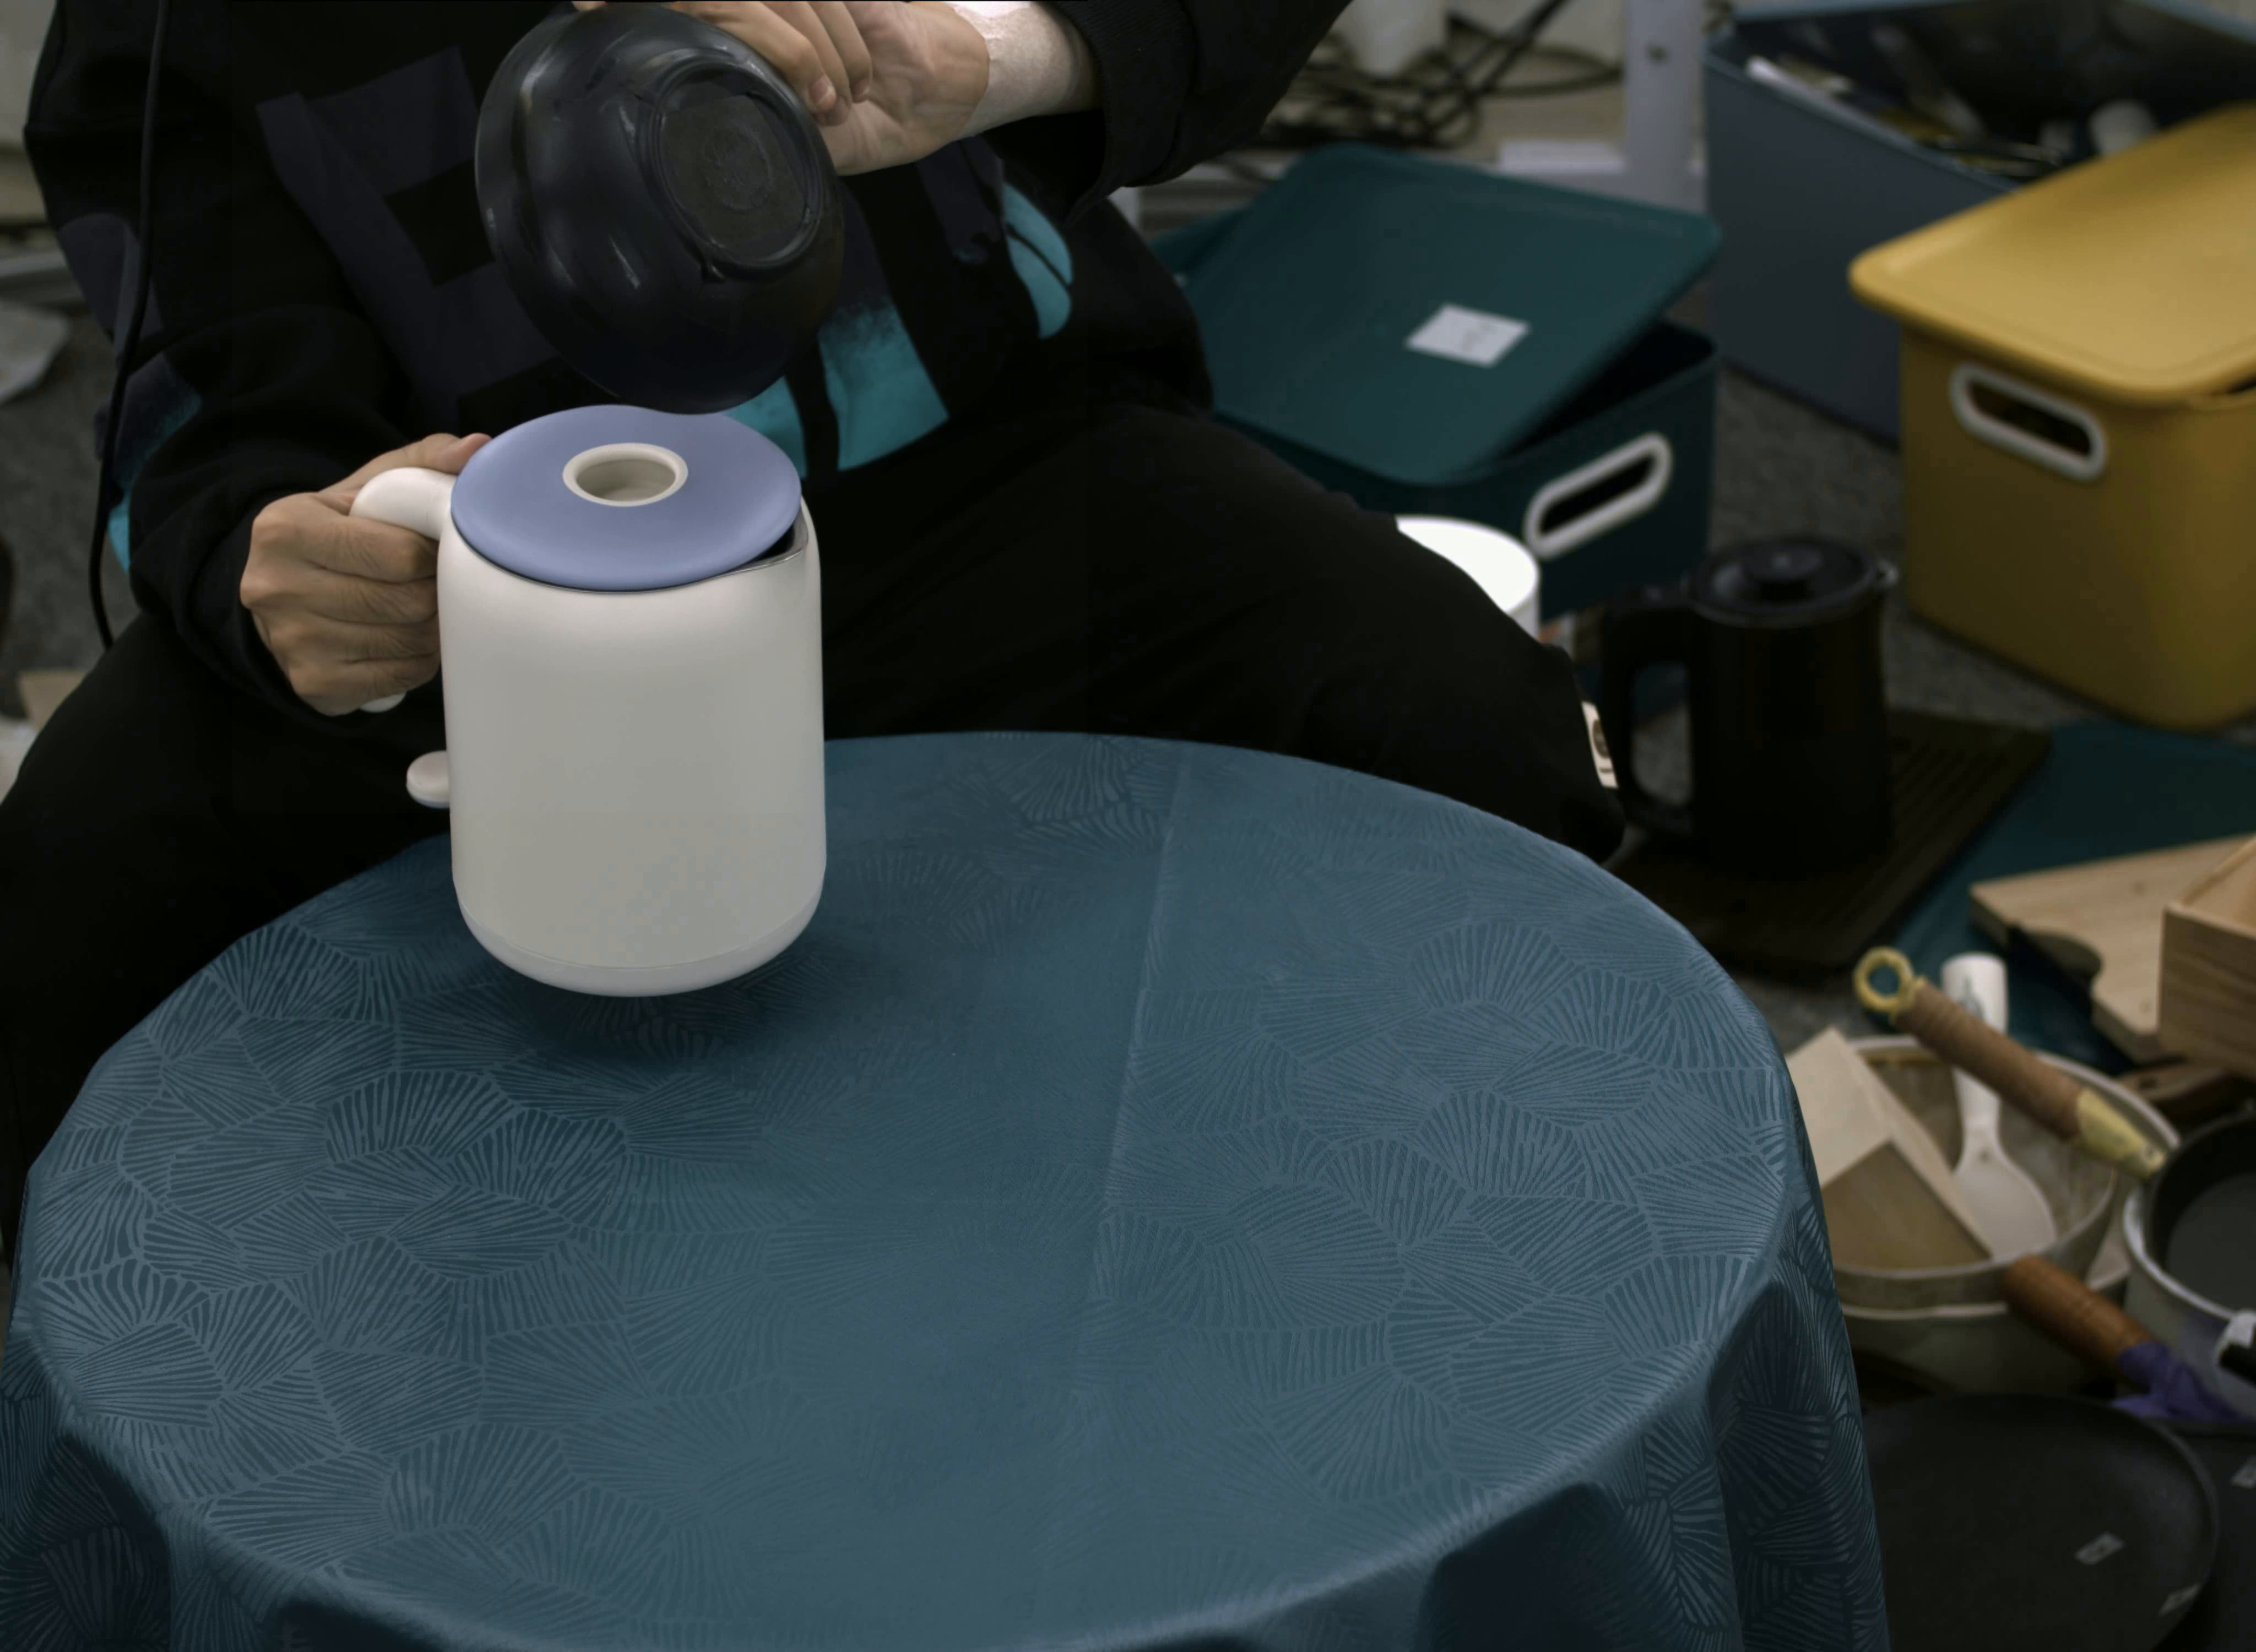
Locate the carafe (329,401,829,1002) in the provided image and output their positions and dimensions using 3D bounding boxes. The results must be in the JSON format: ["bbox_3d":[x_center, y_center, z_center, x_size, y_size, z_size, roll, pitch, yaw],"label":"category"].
[{"bbox_3d":[-0.192,-0.048,1.944,0.190,0.180,0.134,12,32,21],"label":"carafe"}]

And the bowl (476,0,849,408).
[{"bbox_3d":[-0.140,-0.208,1.822,0.049,0.140,0.142,-23,6,45],"label":"bowl"}]
